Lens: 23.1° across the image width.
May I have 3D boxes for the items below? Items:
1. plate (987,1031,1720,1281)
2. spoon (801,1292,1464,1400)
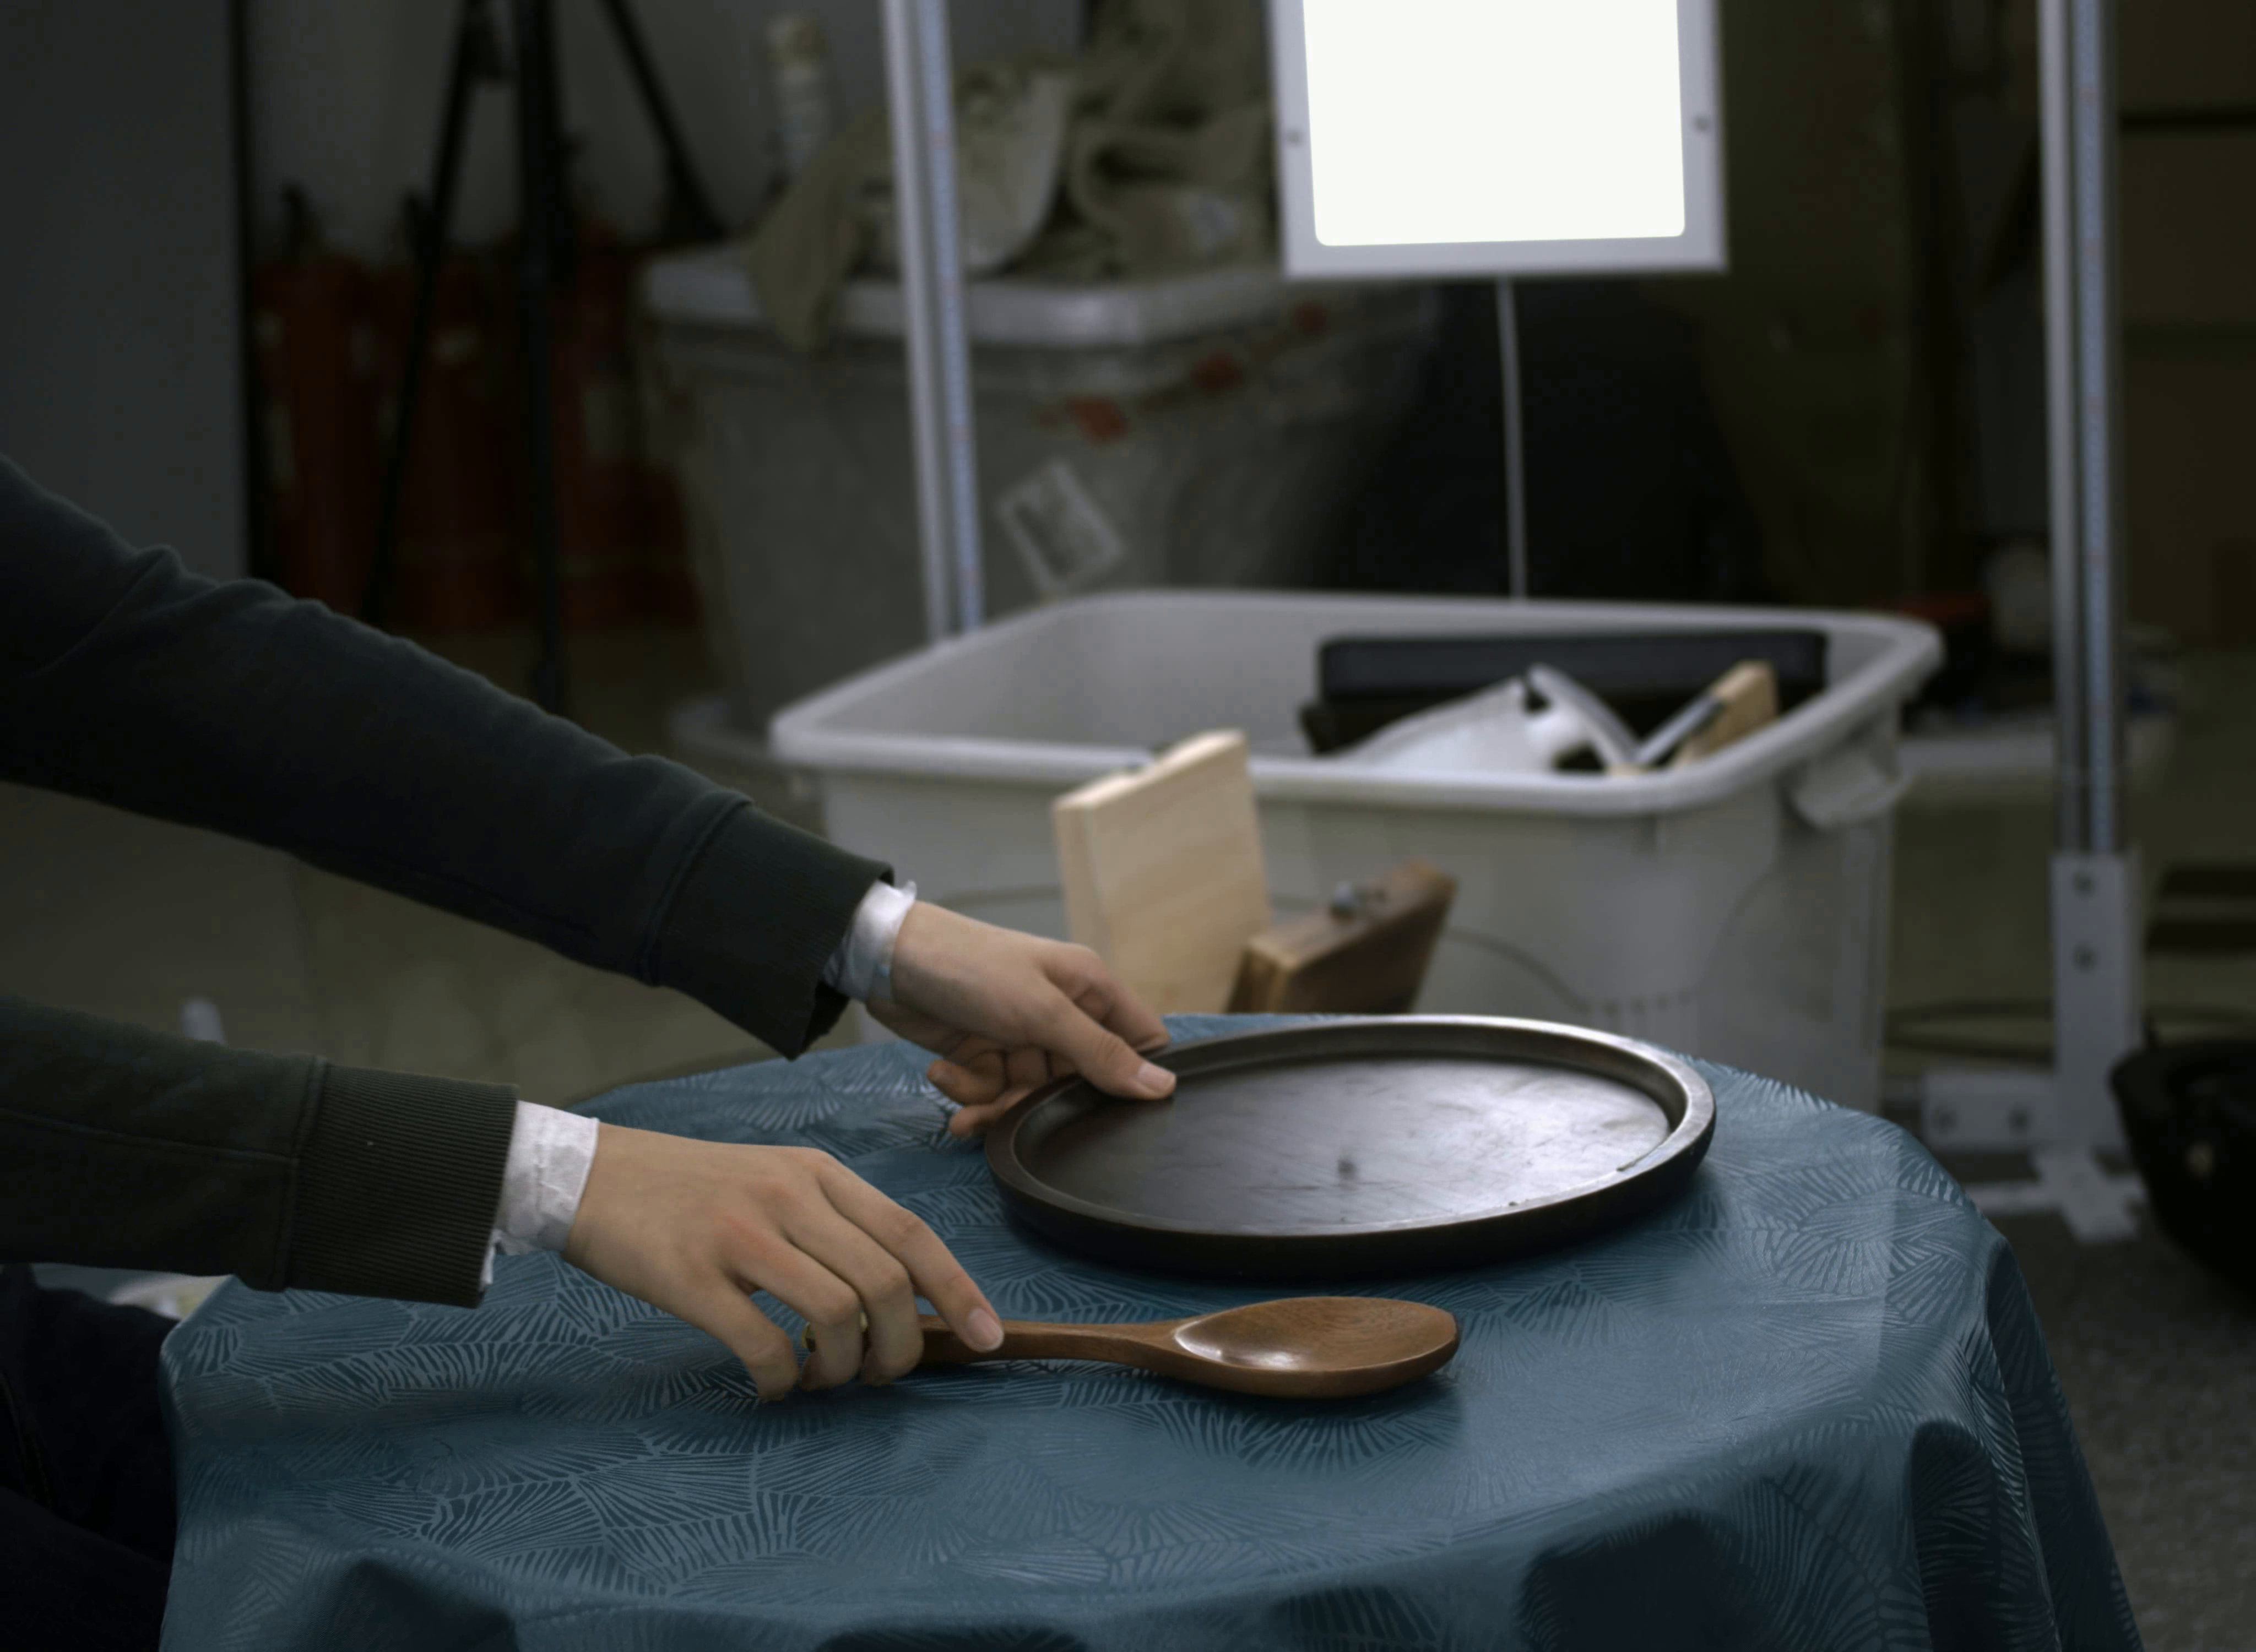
[{"bbox_3d":[0.077,0.110,1.890,0.254,0.029,0.254,-4,13,-1],"label":"plate"},{"bbox_3d":[0.000,0.162,1.717,0.219,0.017,0.074,1,15,20],"label":"spoon"}]
